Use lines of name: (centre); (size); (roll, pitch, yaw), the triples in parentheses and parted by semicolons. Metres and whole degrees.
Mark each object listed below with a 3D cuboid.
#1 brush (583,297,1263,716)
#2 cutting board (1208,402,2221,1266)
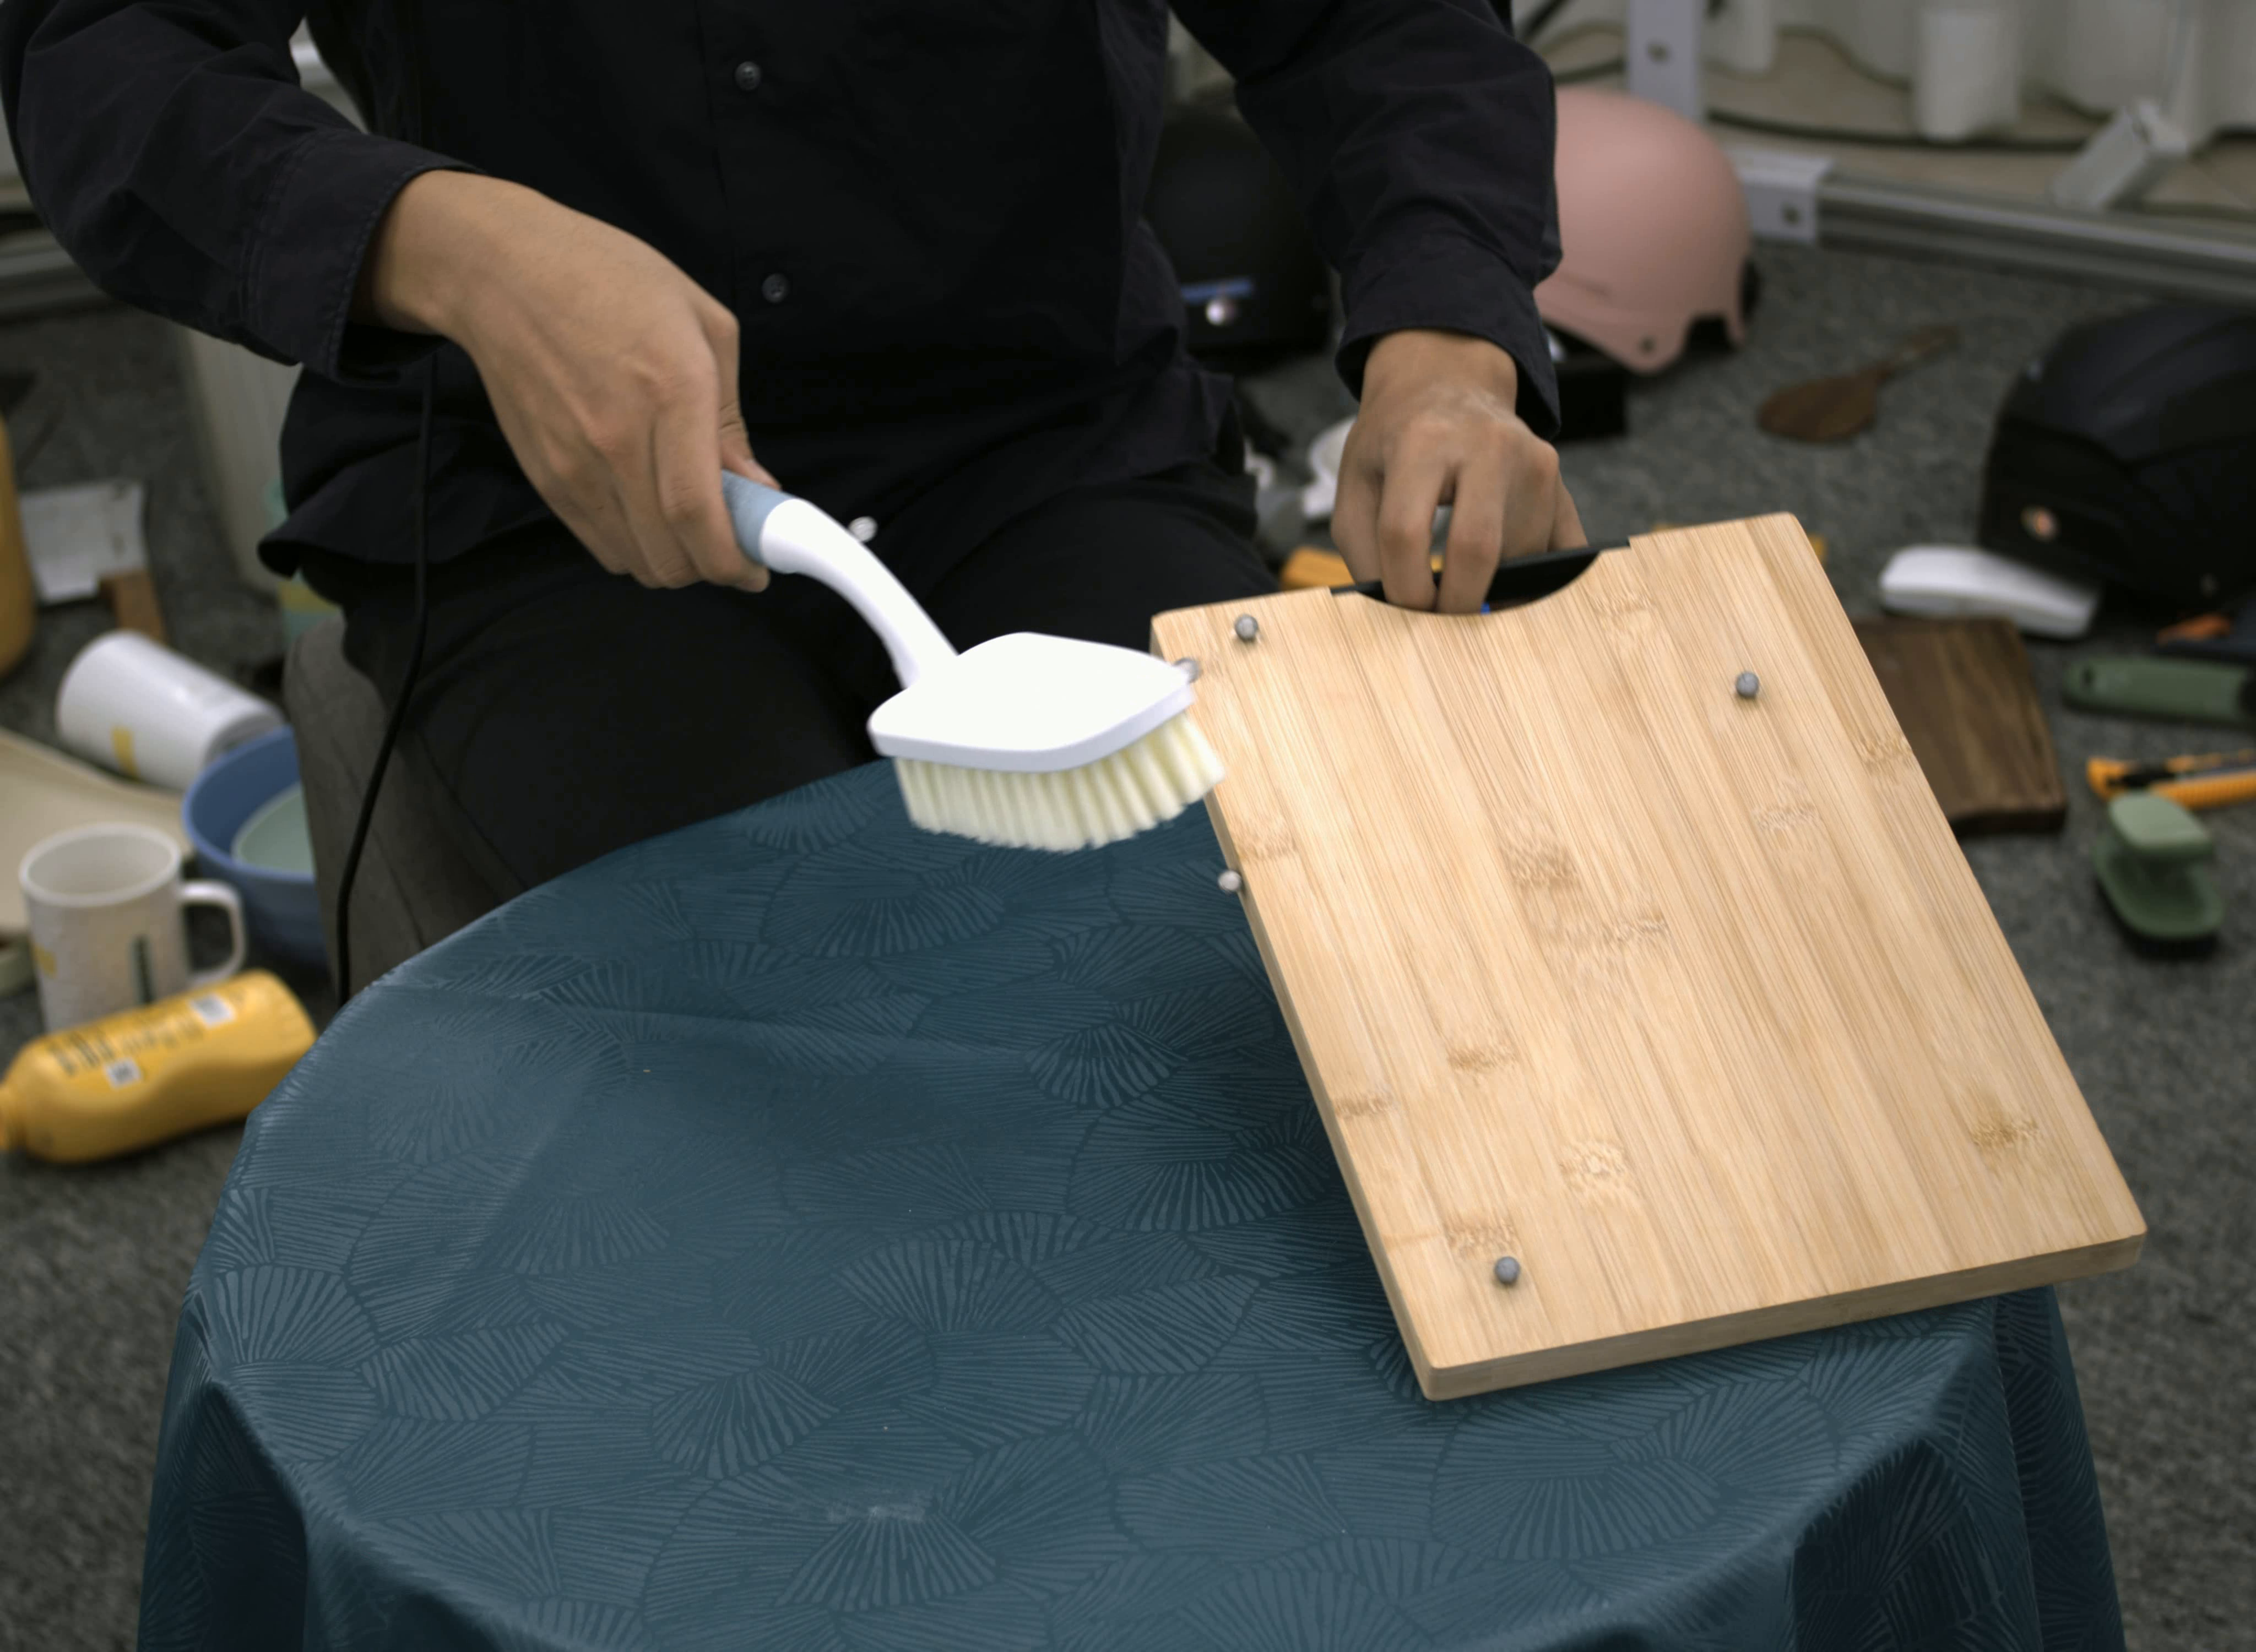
brush: (-0.068, -0.096, 1.852); (0.083, 0.084, 0.325); (11, 9, -45)
cutting board: (0.188, -0.005, 1.894); (0.251, 0.023, 0.354); (-10, 47, -14)
